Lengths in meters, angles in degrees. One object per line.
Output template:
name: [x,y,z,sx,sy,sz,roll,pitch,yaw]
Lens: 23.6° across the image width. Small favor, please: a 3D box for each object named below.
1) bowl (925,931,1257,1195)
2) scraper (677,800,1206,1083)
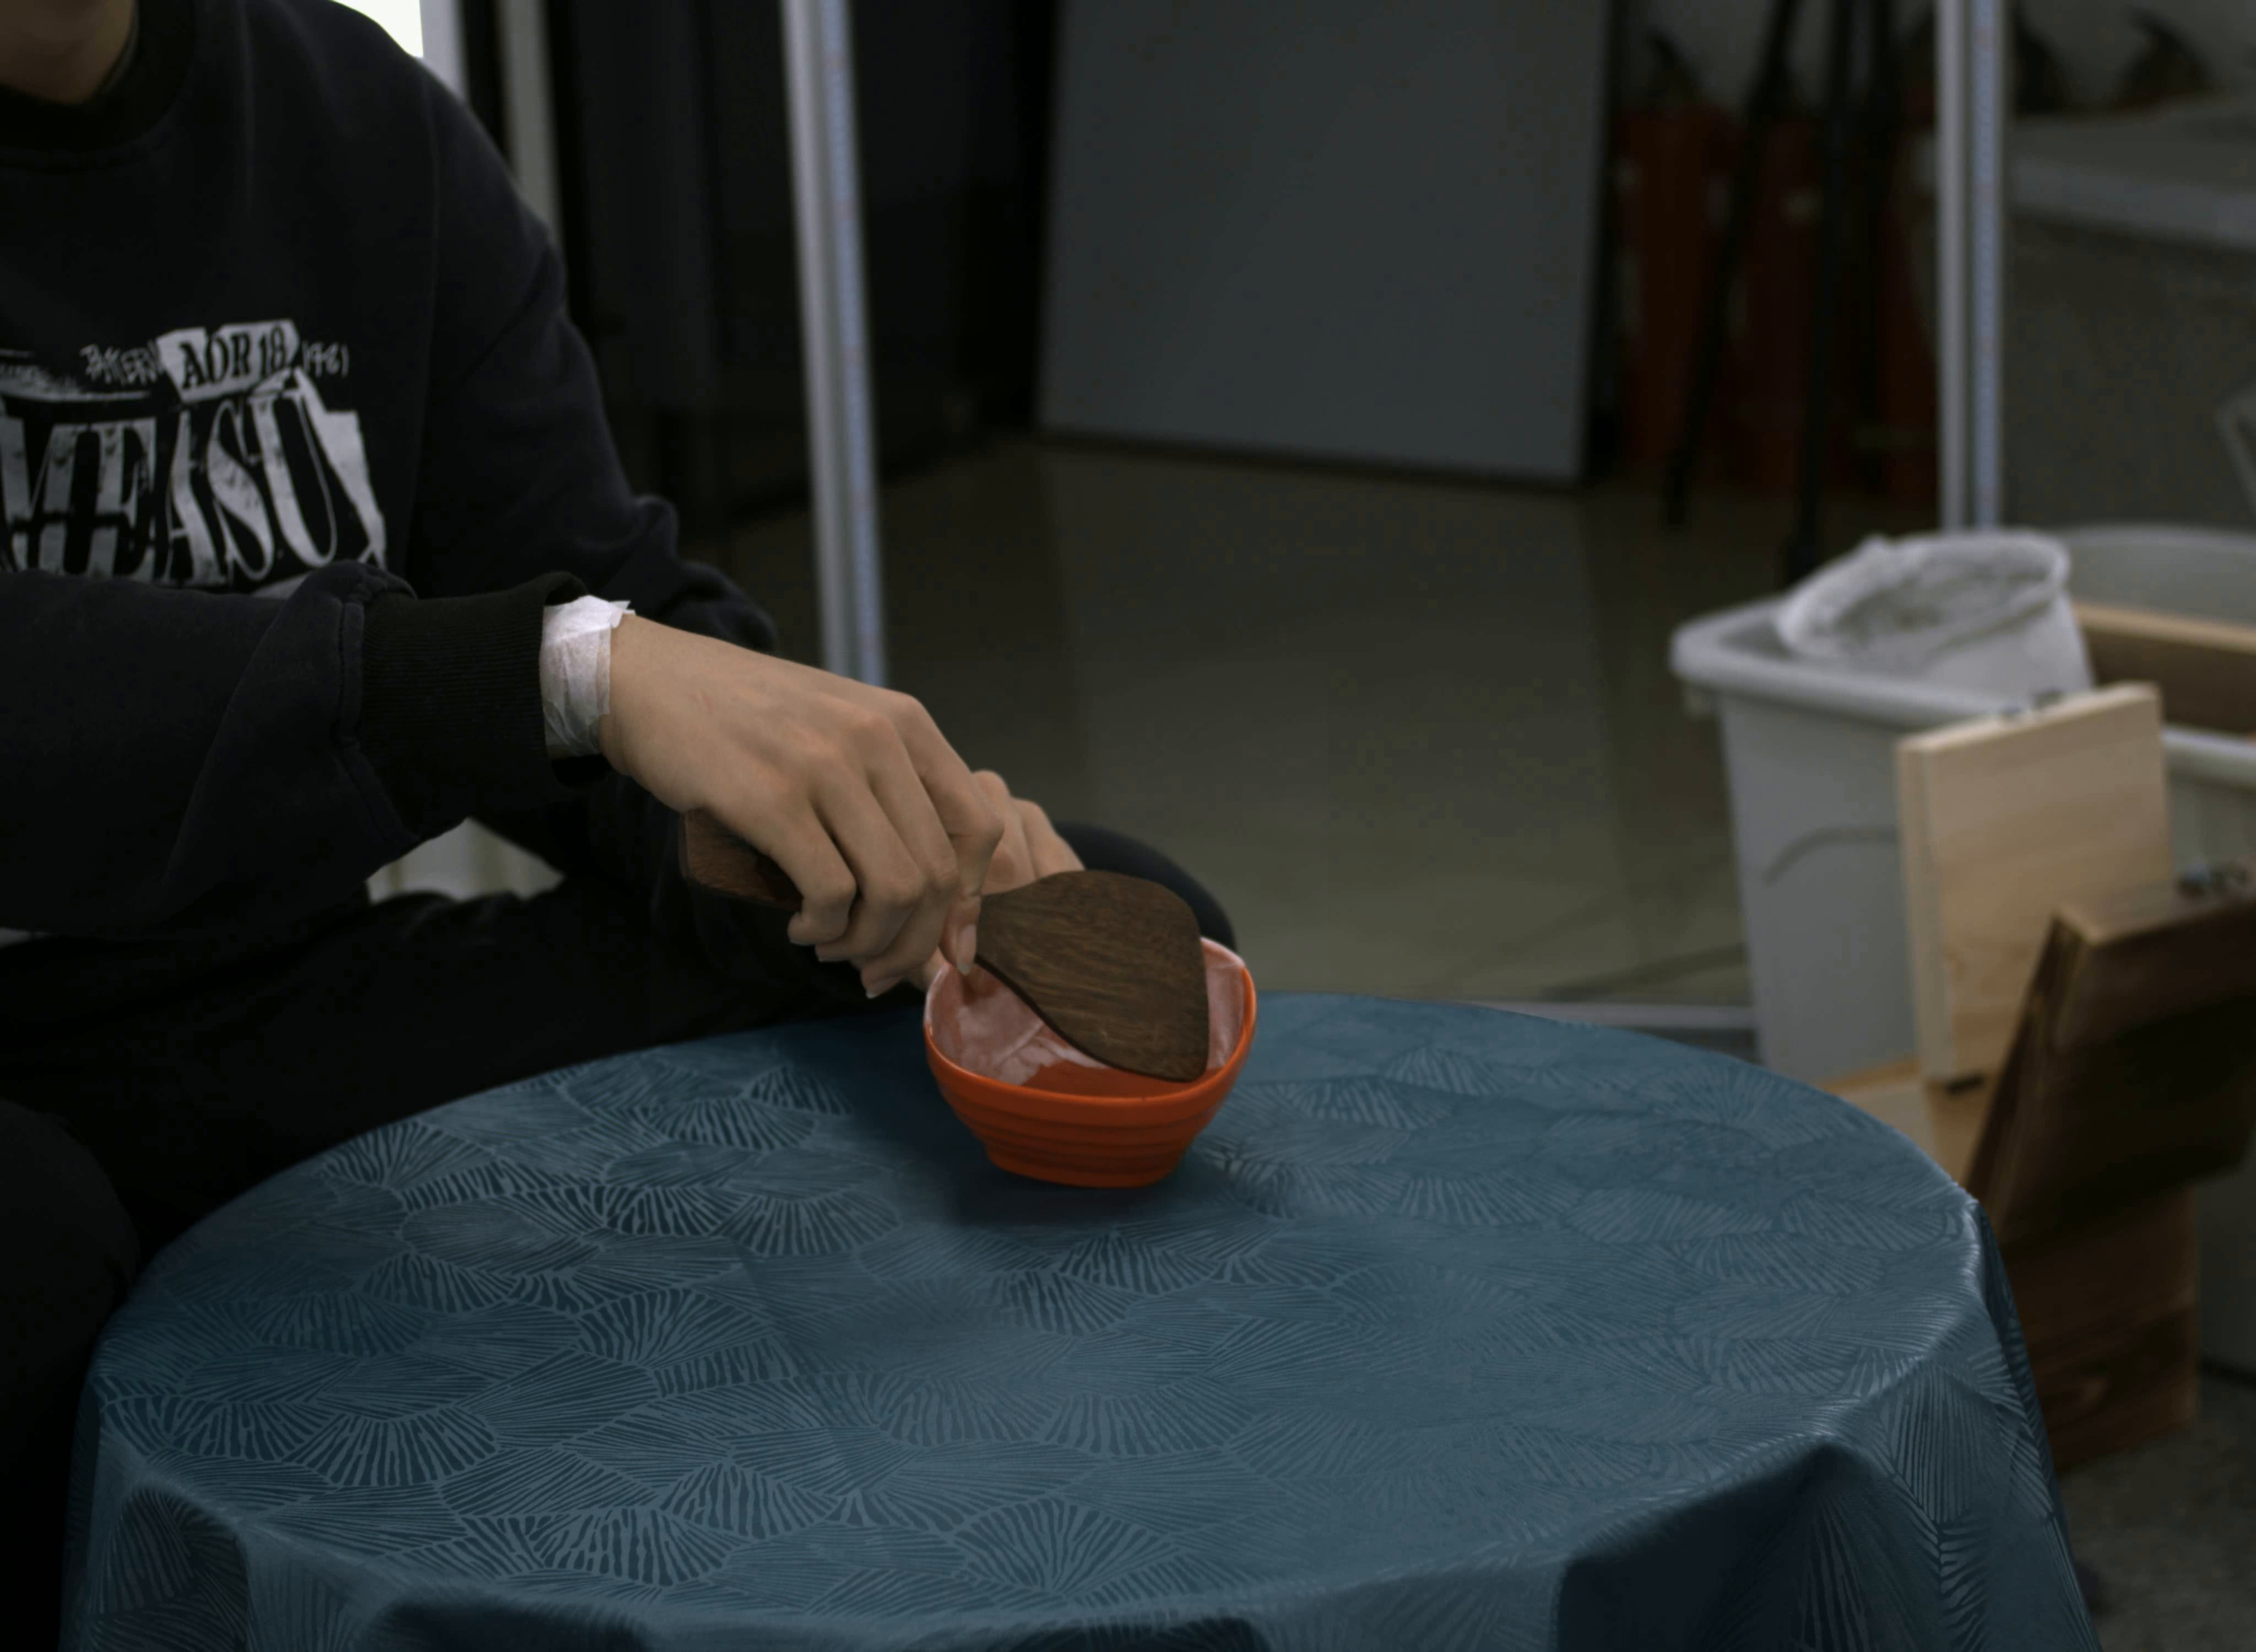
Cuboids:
bowl: [-0.012,0.082,1.792,0.117,0.052,0.119,0,32,-1]
scraper: [-0.058,0.029,1.736,0.207,0.077,0.011,18,-36,-34]
